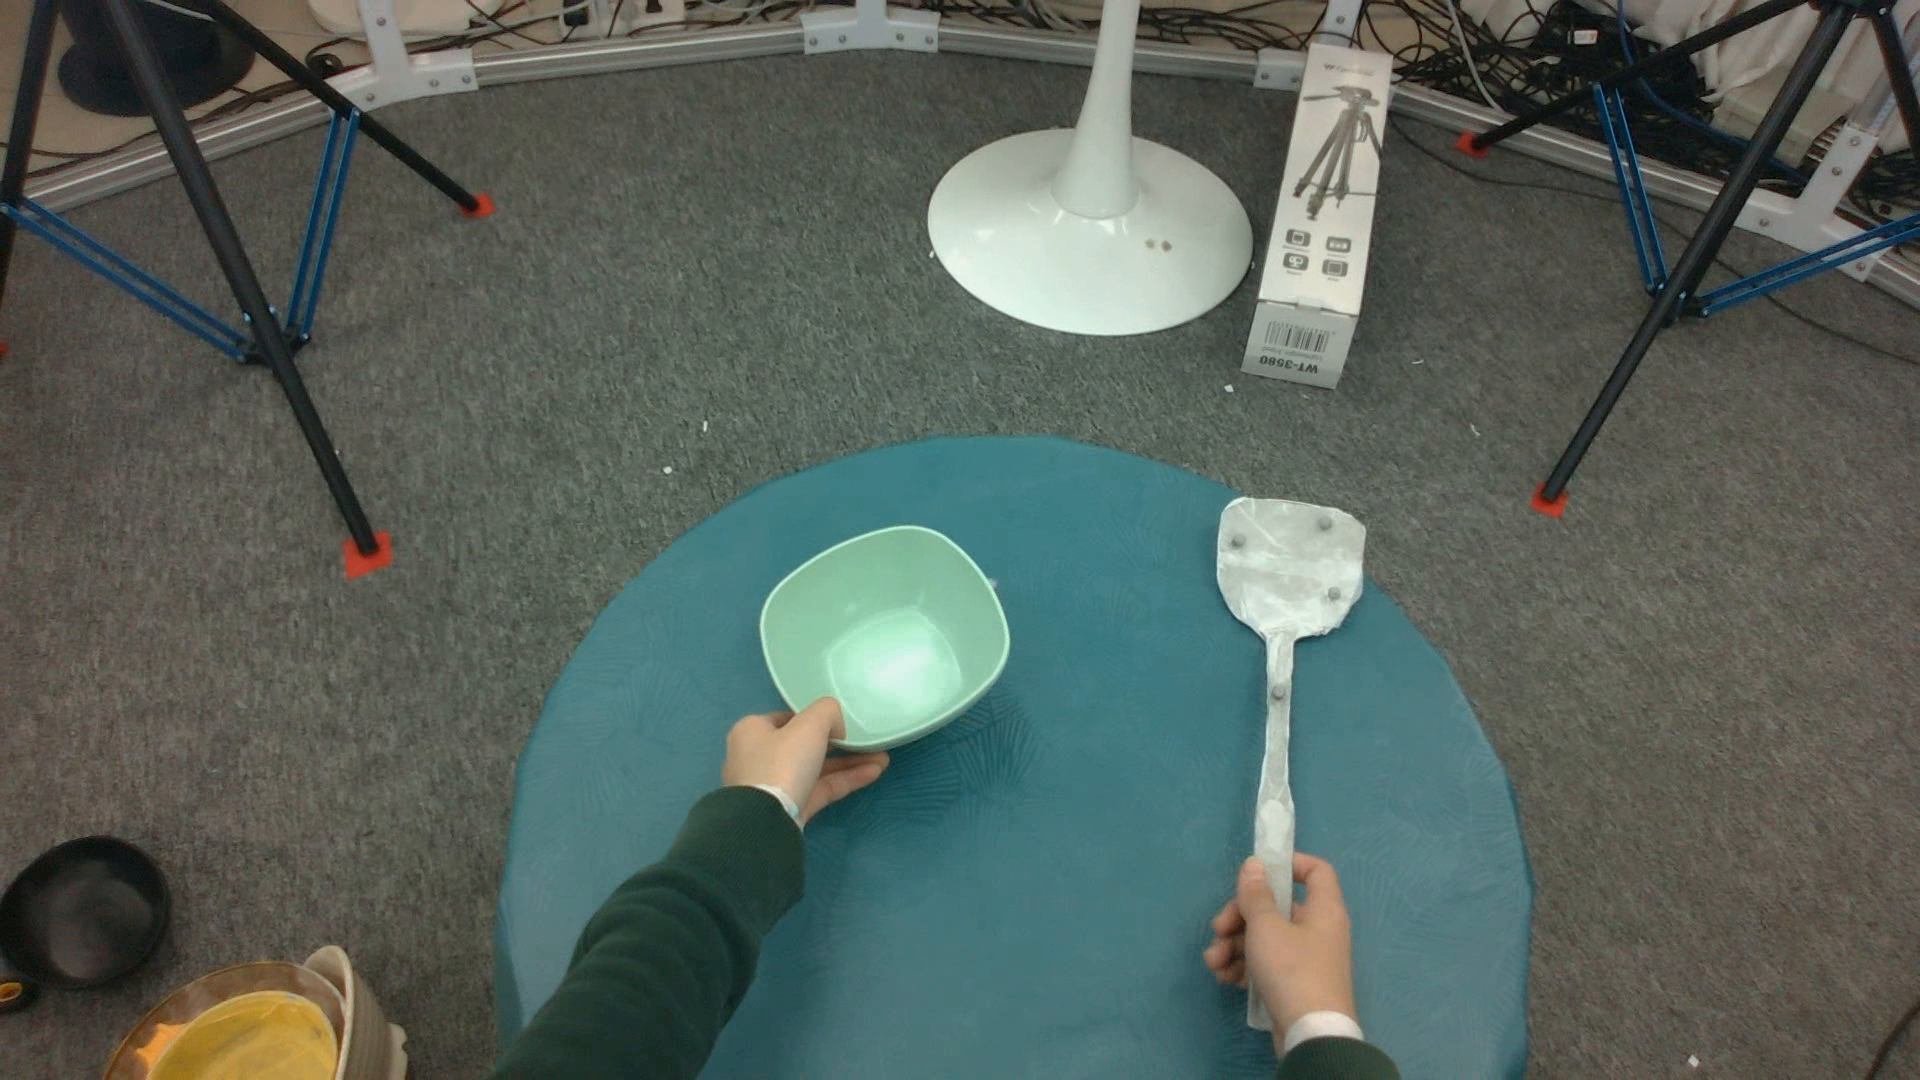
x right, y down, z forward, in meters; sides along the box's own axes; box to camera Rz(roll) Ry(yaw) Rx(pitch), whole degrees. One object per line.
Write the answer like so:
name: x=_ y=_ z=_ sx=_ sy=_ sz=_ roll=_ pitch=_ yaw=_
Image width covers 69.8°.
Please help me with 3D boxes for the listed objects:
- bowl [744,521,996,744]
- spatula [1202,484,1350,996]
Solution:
bowl: x=-0.051 y=0.064 z=0.823 sx=0.151 sy=0.058 sz=0.152 roll=-3 pitch=52 yaw=4
spatula: x=0.182 y=0.103 z=0.837 sx=0.098 sy=0.044 sz=0.367 roll=11 pitch=45 yaw=7
